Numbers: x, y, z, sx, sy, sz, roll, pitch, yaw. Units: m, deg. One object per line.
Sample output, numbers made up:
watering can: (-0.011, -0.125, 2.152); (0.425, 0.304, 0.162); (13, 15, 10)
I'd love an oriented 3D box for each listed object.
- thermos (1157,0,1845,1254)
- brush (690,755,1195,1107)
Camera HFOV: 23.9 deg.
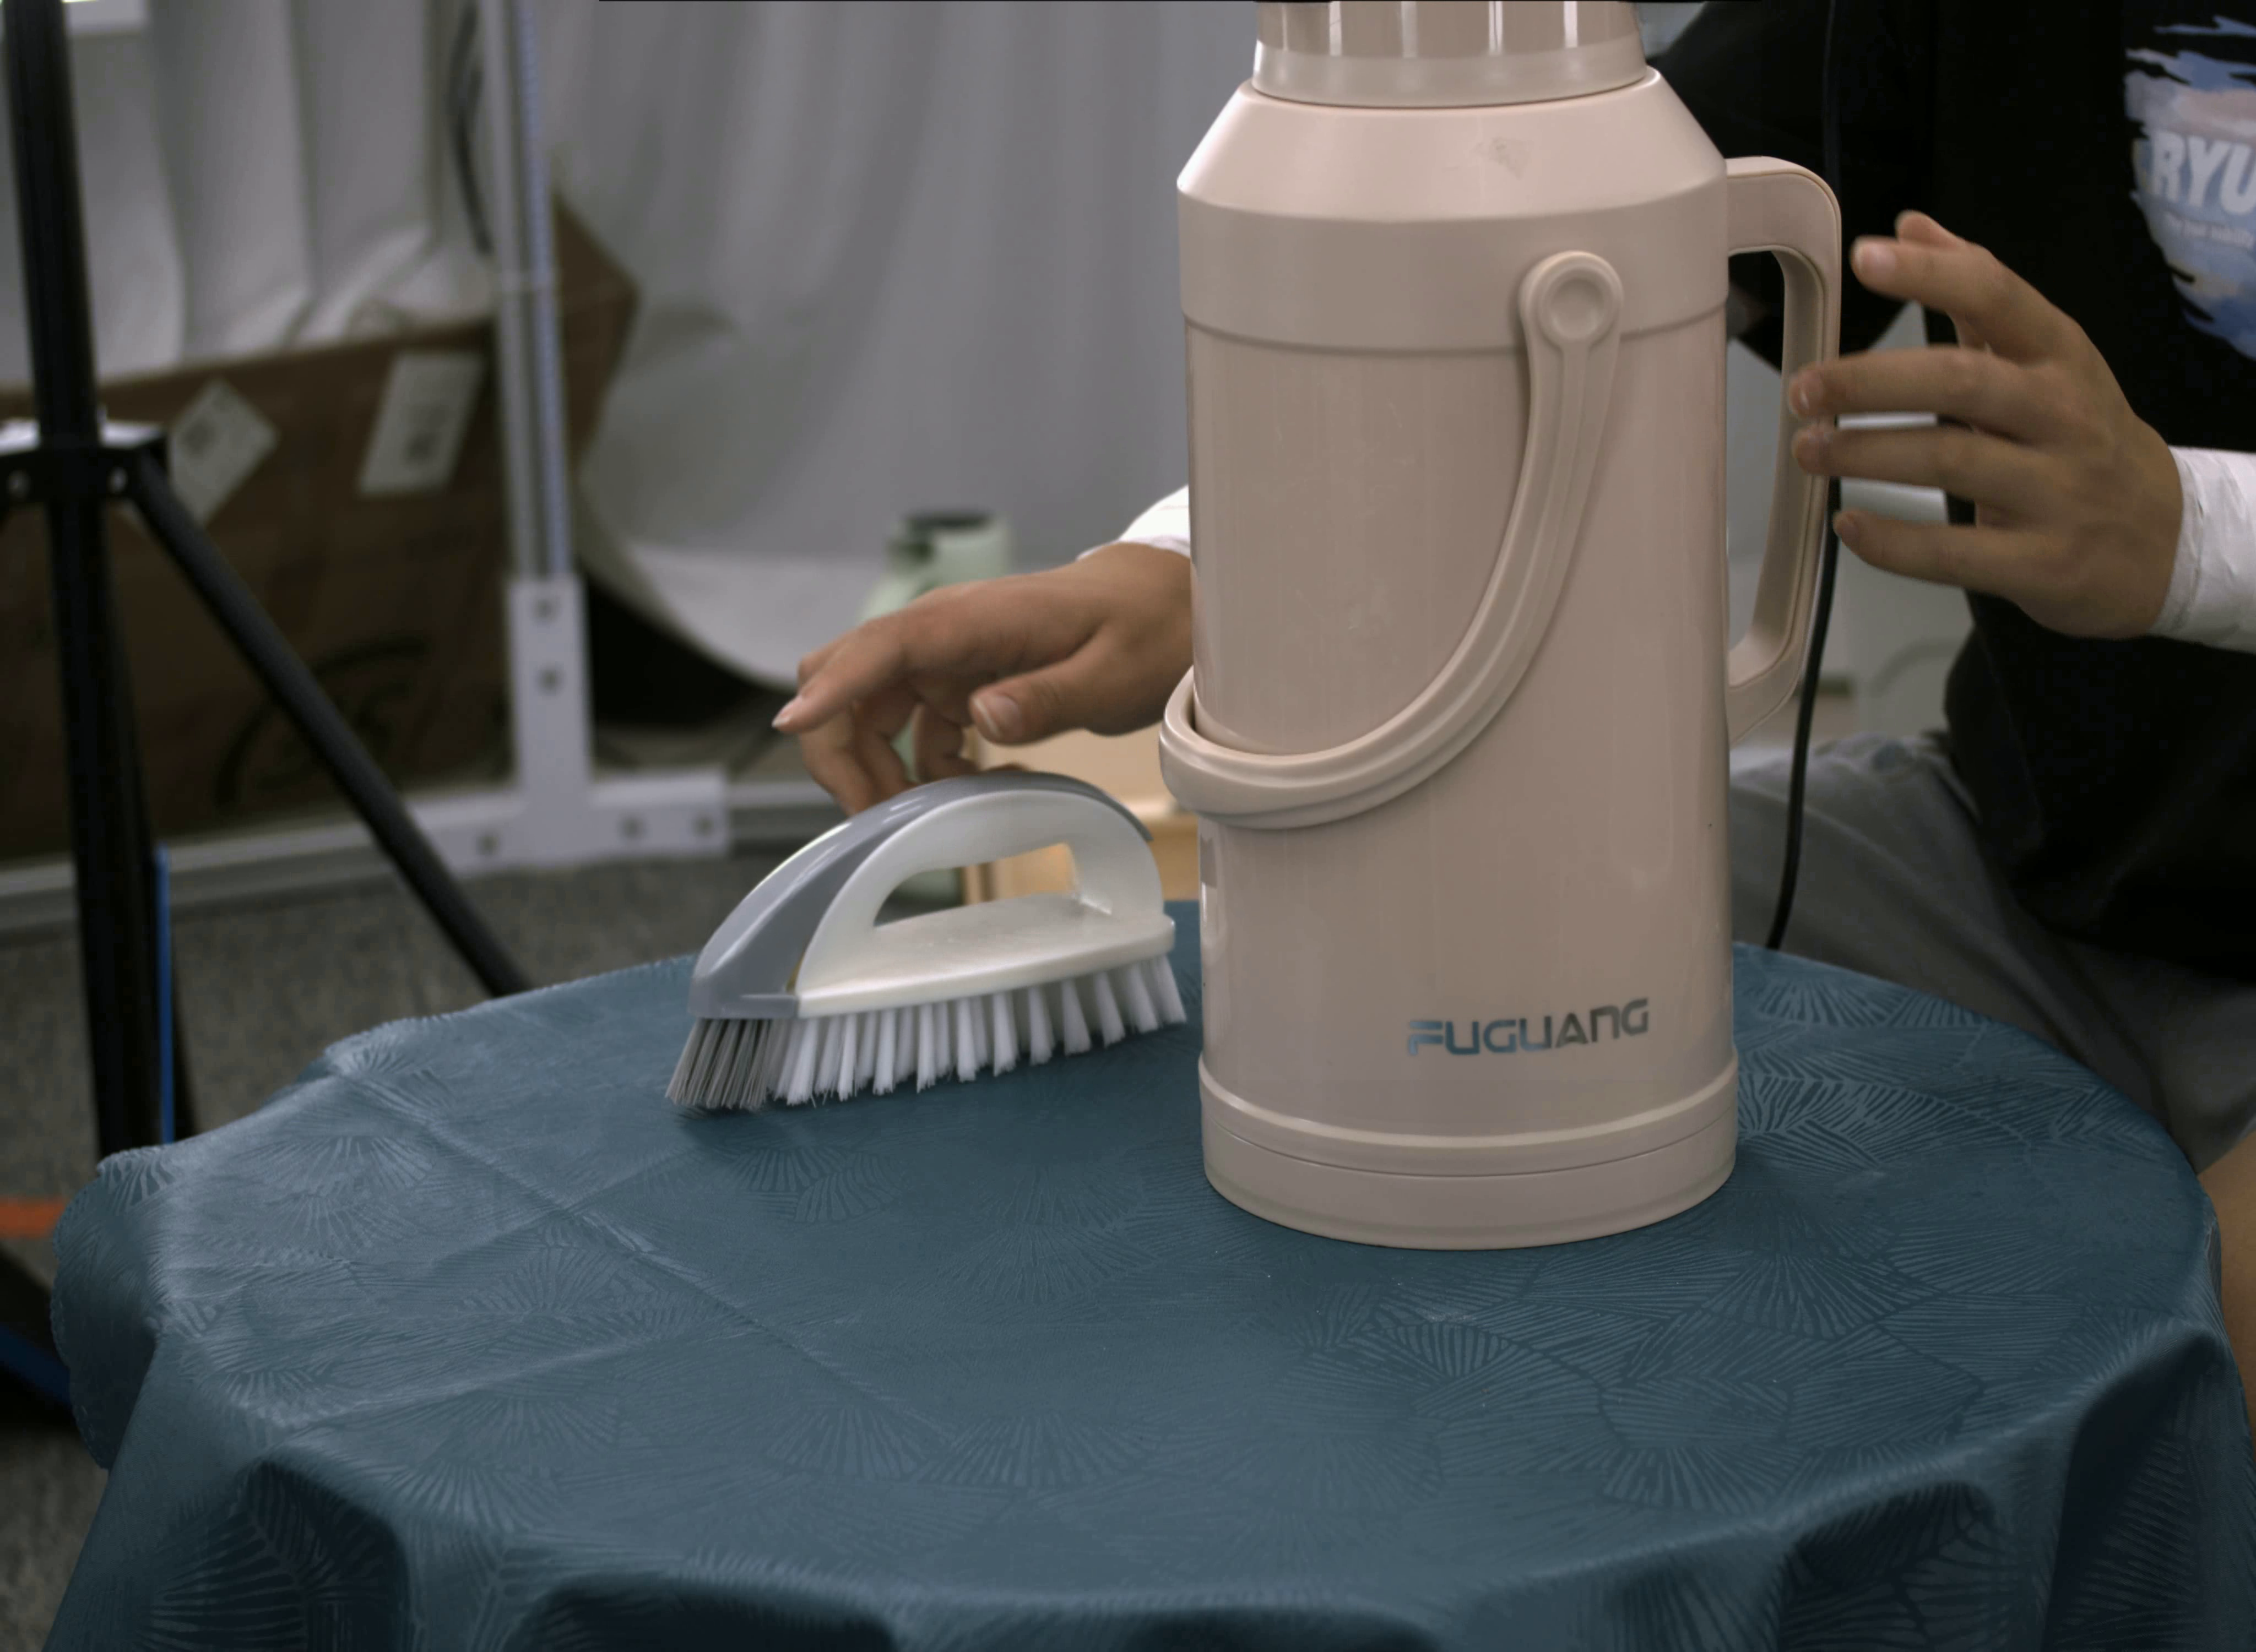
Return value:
thermos: (0.109, -0.092, 1.526); (0.203, 0.406, 0.178); (-6, 14, -17)
brush: (-0.064, 0.031, 1.672); (0.172, 0.094, 0.063); (-13, 16, -28)
